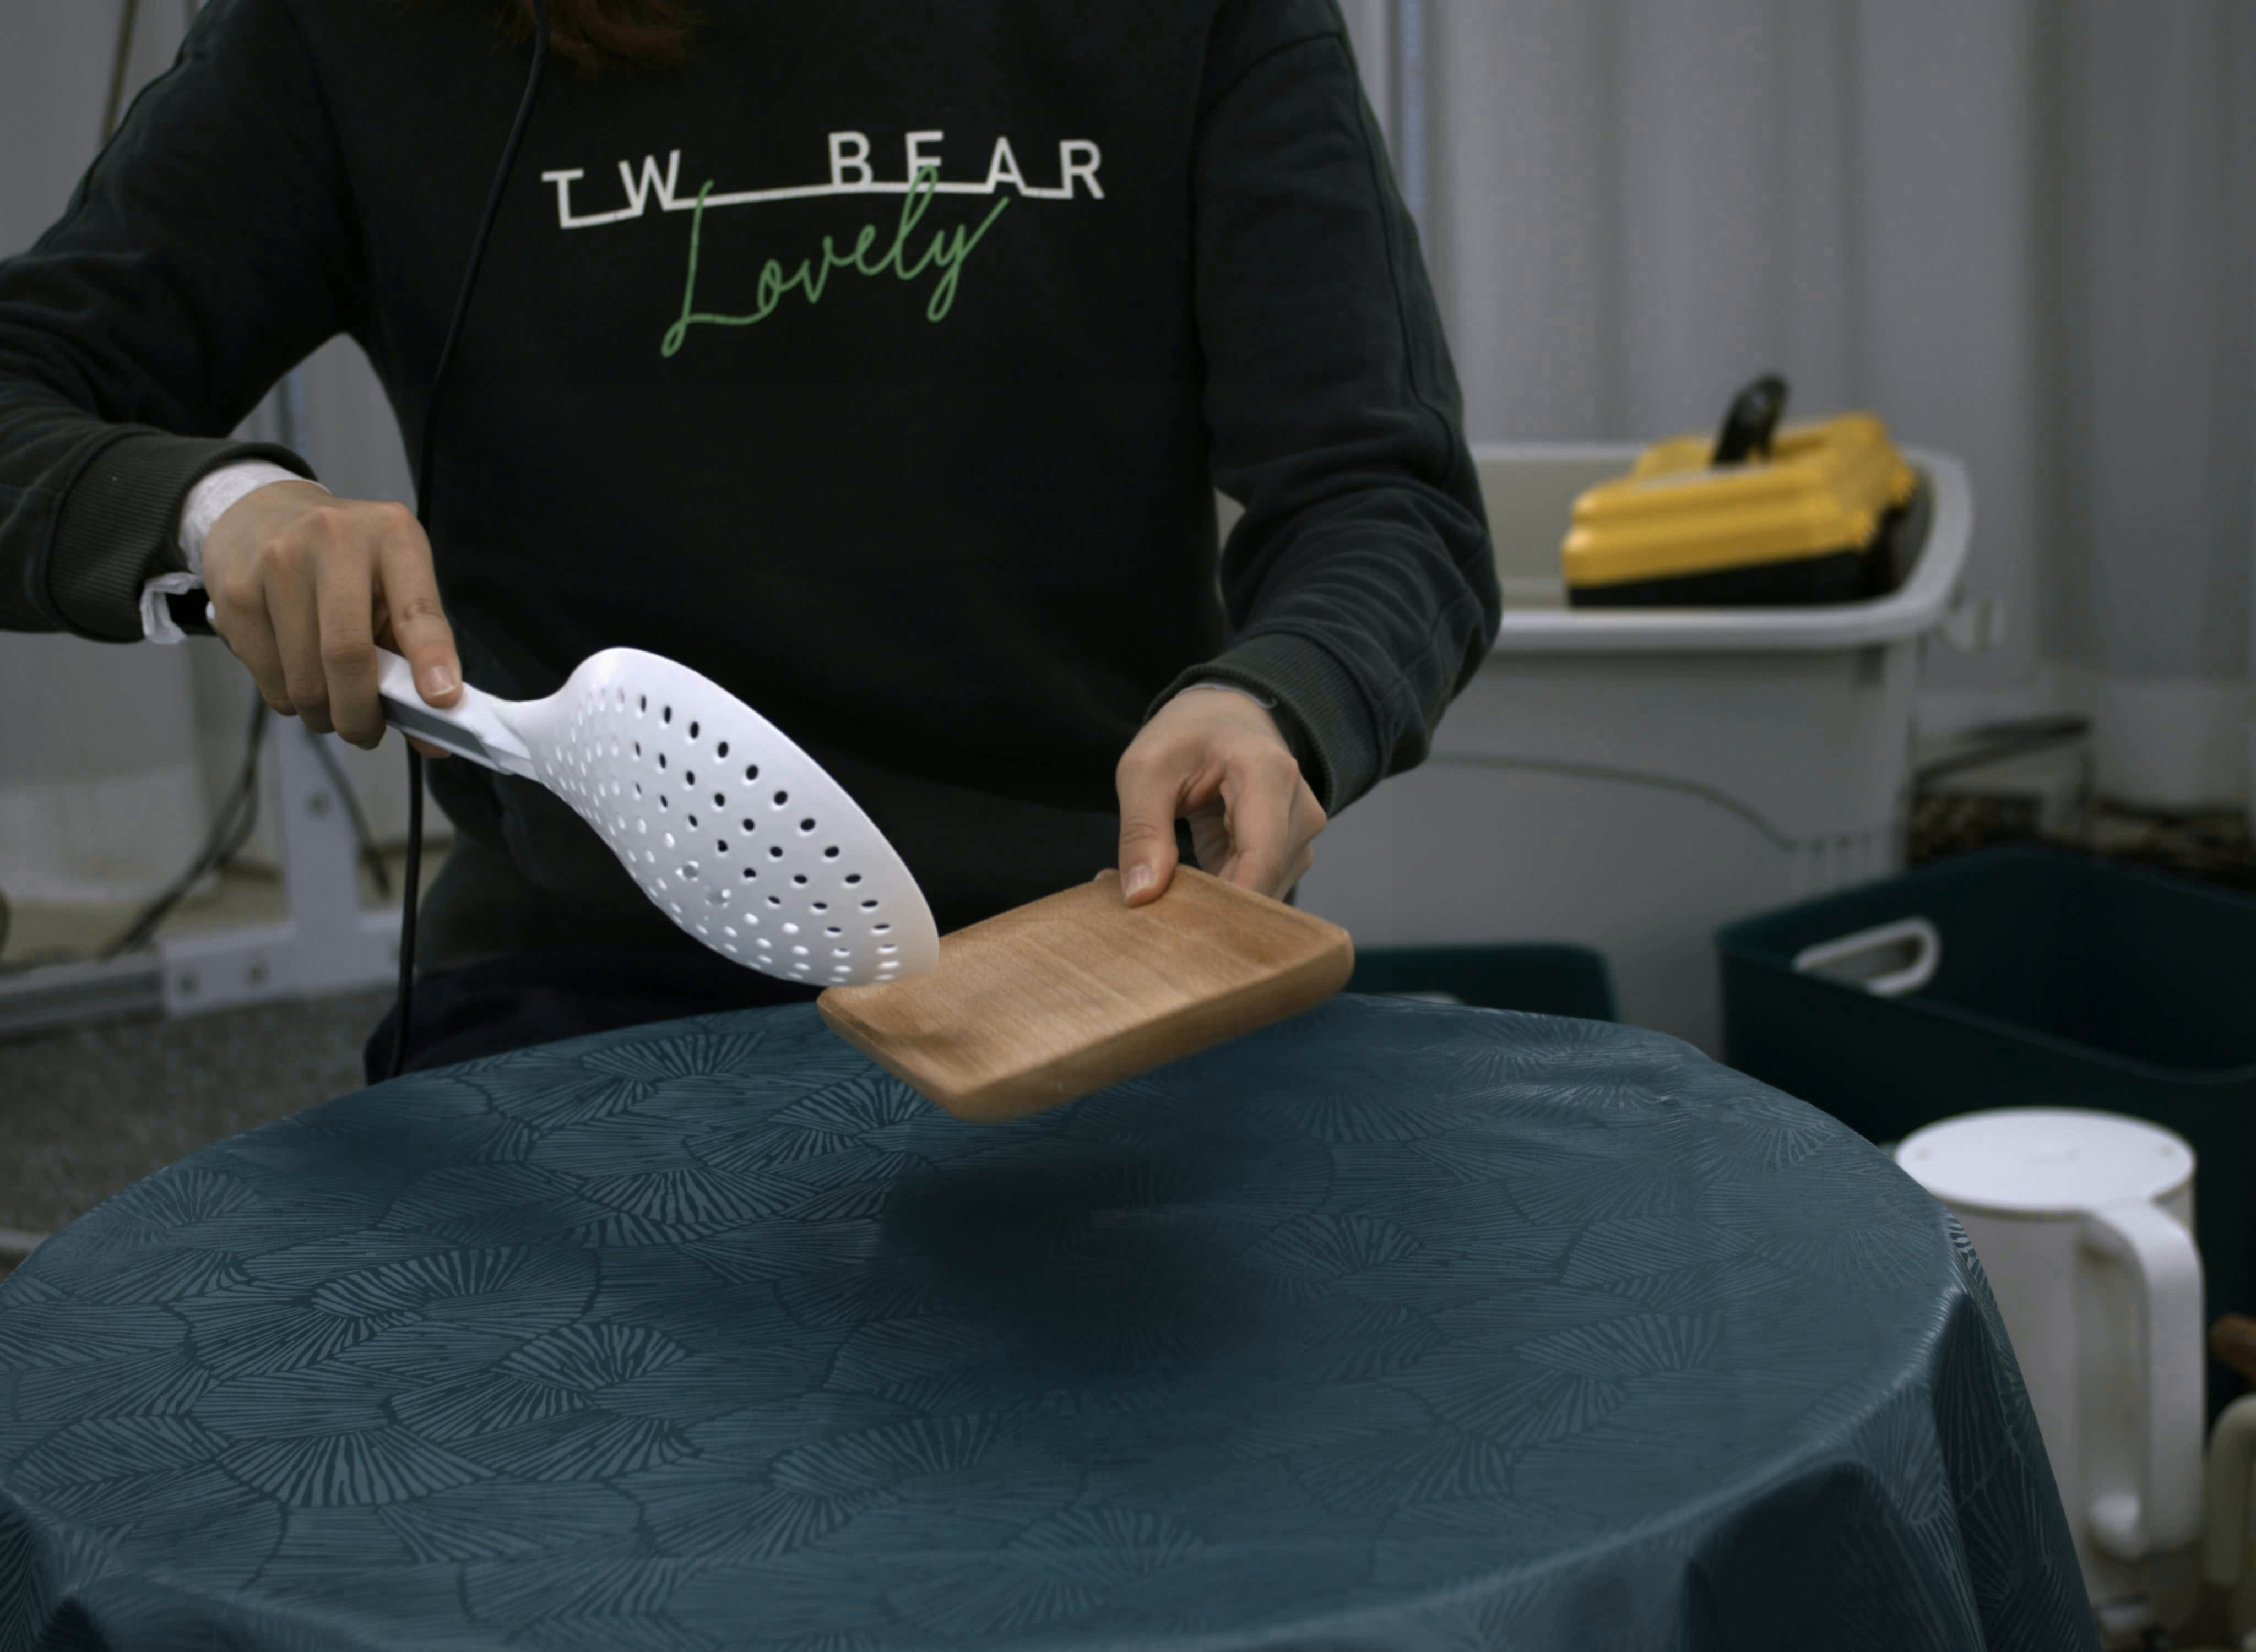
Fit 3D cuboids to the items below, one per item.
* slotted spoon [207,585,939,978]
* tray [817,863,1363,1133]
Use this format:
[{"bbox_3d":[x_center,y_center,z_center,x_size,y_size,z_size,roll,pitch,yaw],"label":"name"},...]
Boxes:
[{"bbox_3d":[-0.184,-0.027,1.696,0.046,0.134,0.353,-44,39,-18],"label":"slotted spoon"},{"bbox_3d":[-0.015,0.050,1.635,0.130,0.023,0.251,-18,8,-11],"label":"tray"}]
